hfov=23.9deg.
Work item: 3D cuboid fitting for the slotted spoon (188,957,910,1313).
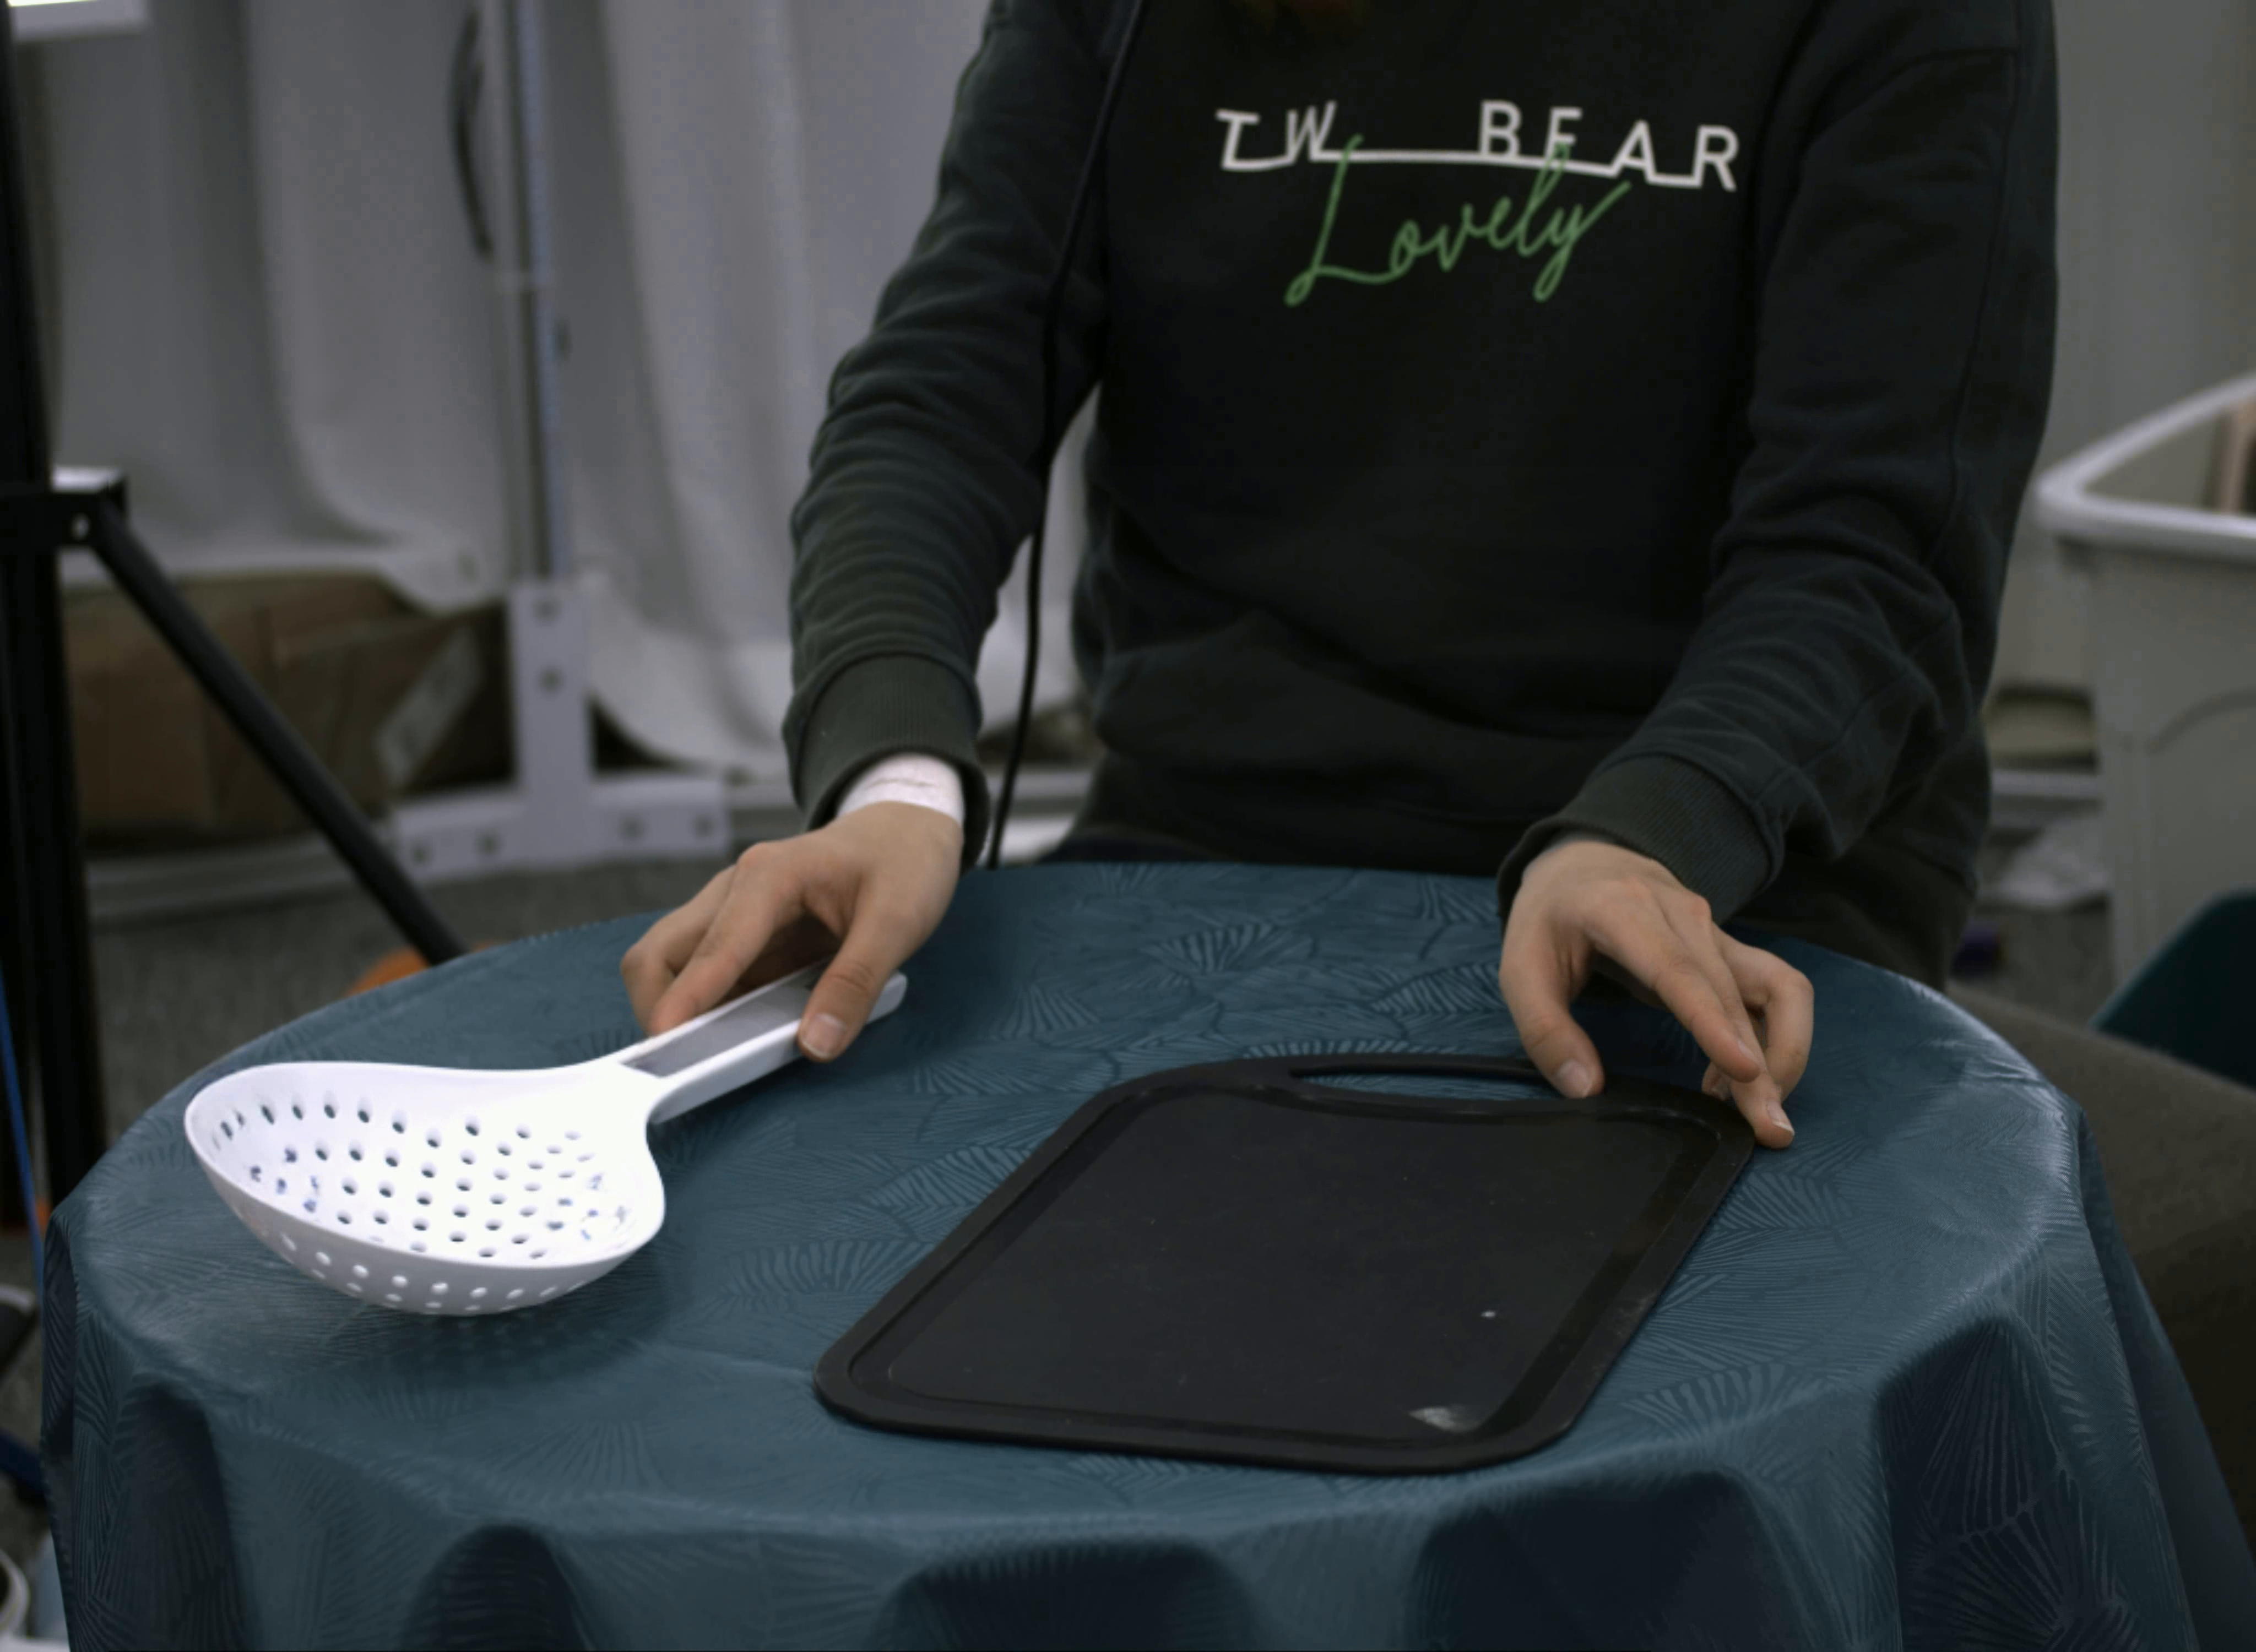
[{"bbox_3d":[-0.154,0.081,1.589,0.138,0.046,0.344,22,23,20],"label":"slotted spoon"}]

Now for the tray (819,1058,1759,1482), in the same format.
[{"bbox_3d":[0.055,0.117,1.504,0.213,0.010,0.322,3,17,20],"label":"tray"}]
